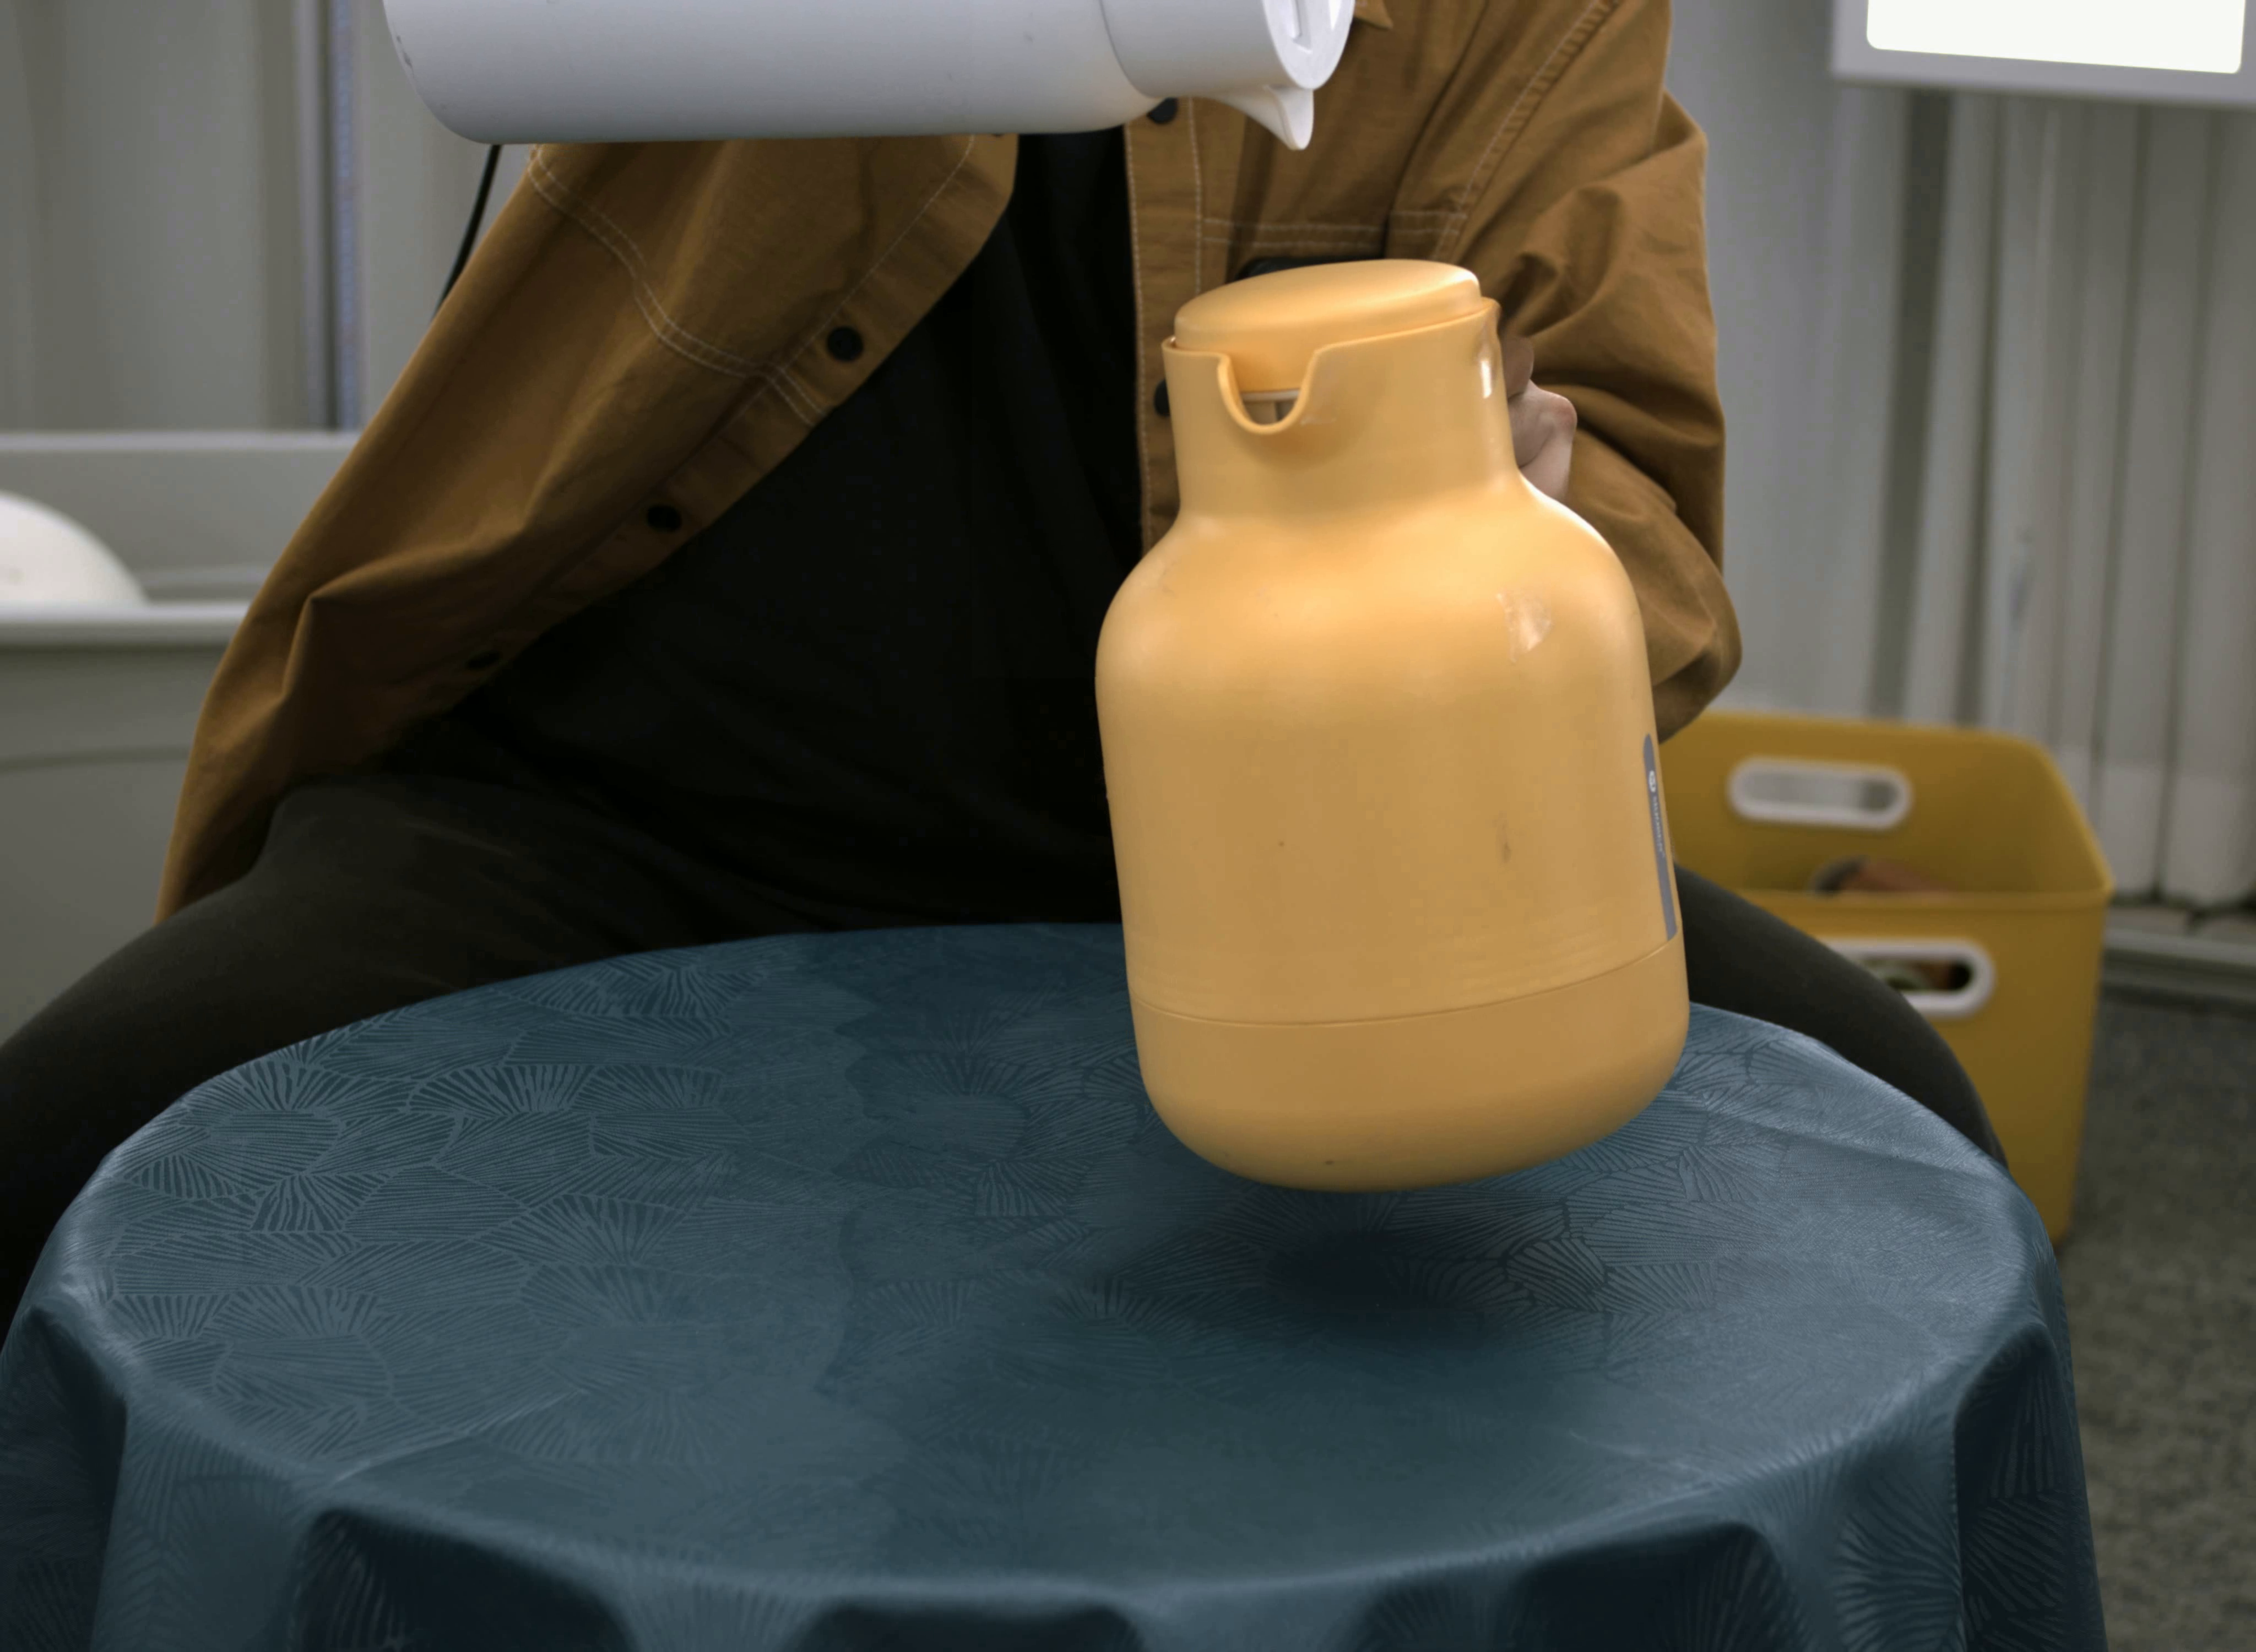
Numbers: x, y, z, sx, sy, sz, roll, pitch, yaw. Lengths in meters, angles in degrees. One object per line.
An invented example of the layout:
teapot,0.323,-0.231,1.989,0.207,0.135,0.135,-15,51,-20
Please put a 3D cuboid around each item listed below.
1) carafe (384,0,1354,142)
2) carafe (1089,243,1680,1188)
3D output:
carafe,-0.076,-0.272,1.485,0.266,0.175,0.123,1,28,21
carafe,0.078,-0.040,1.540,0.162,0.262,0.202,0,16,20
